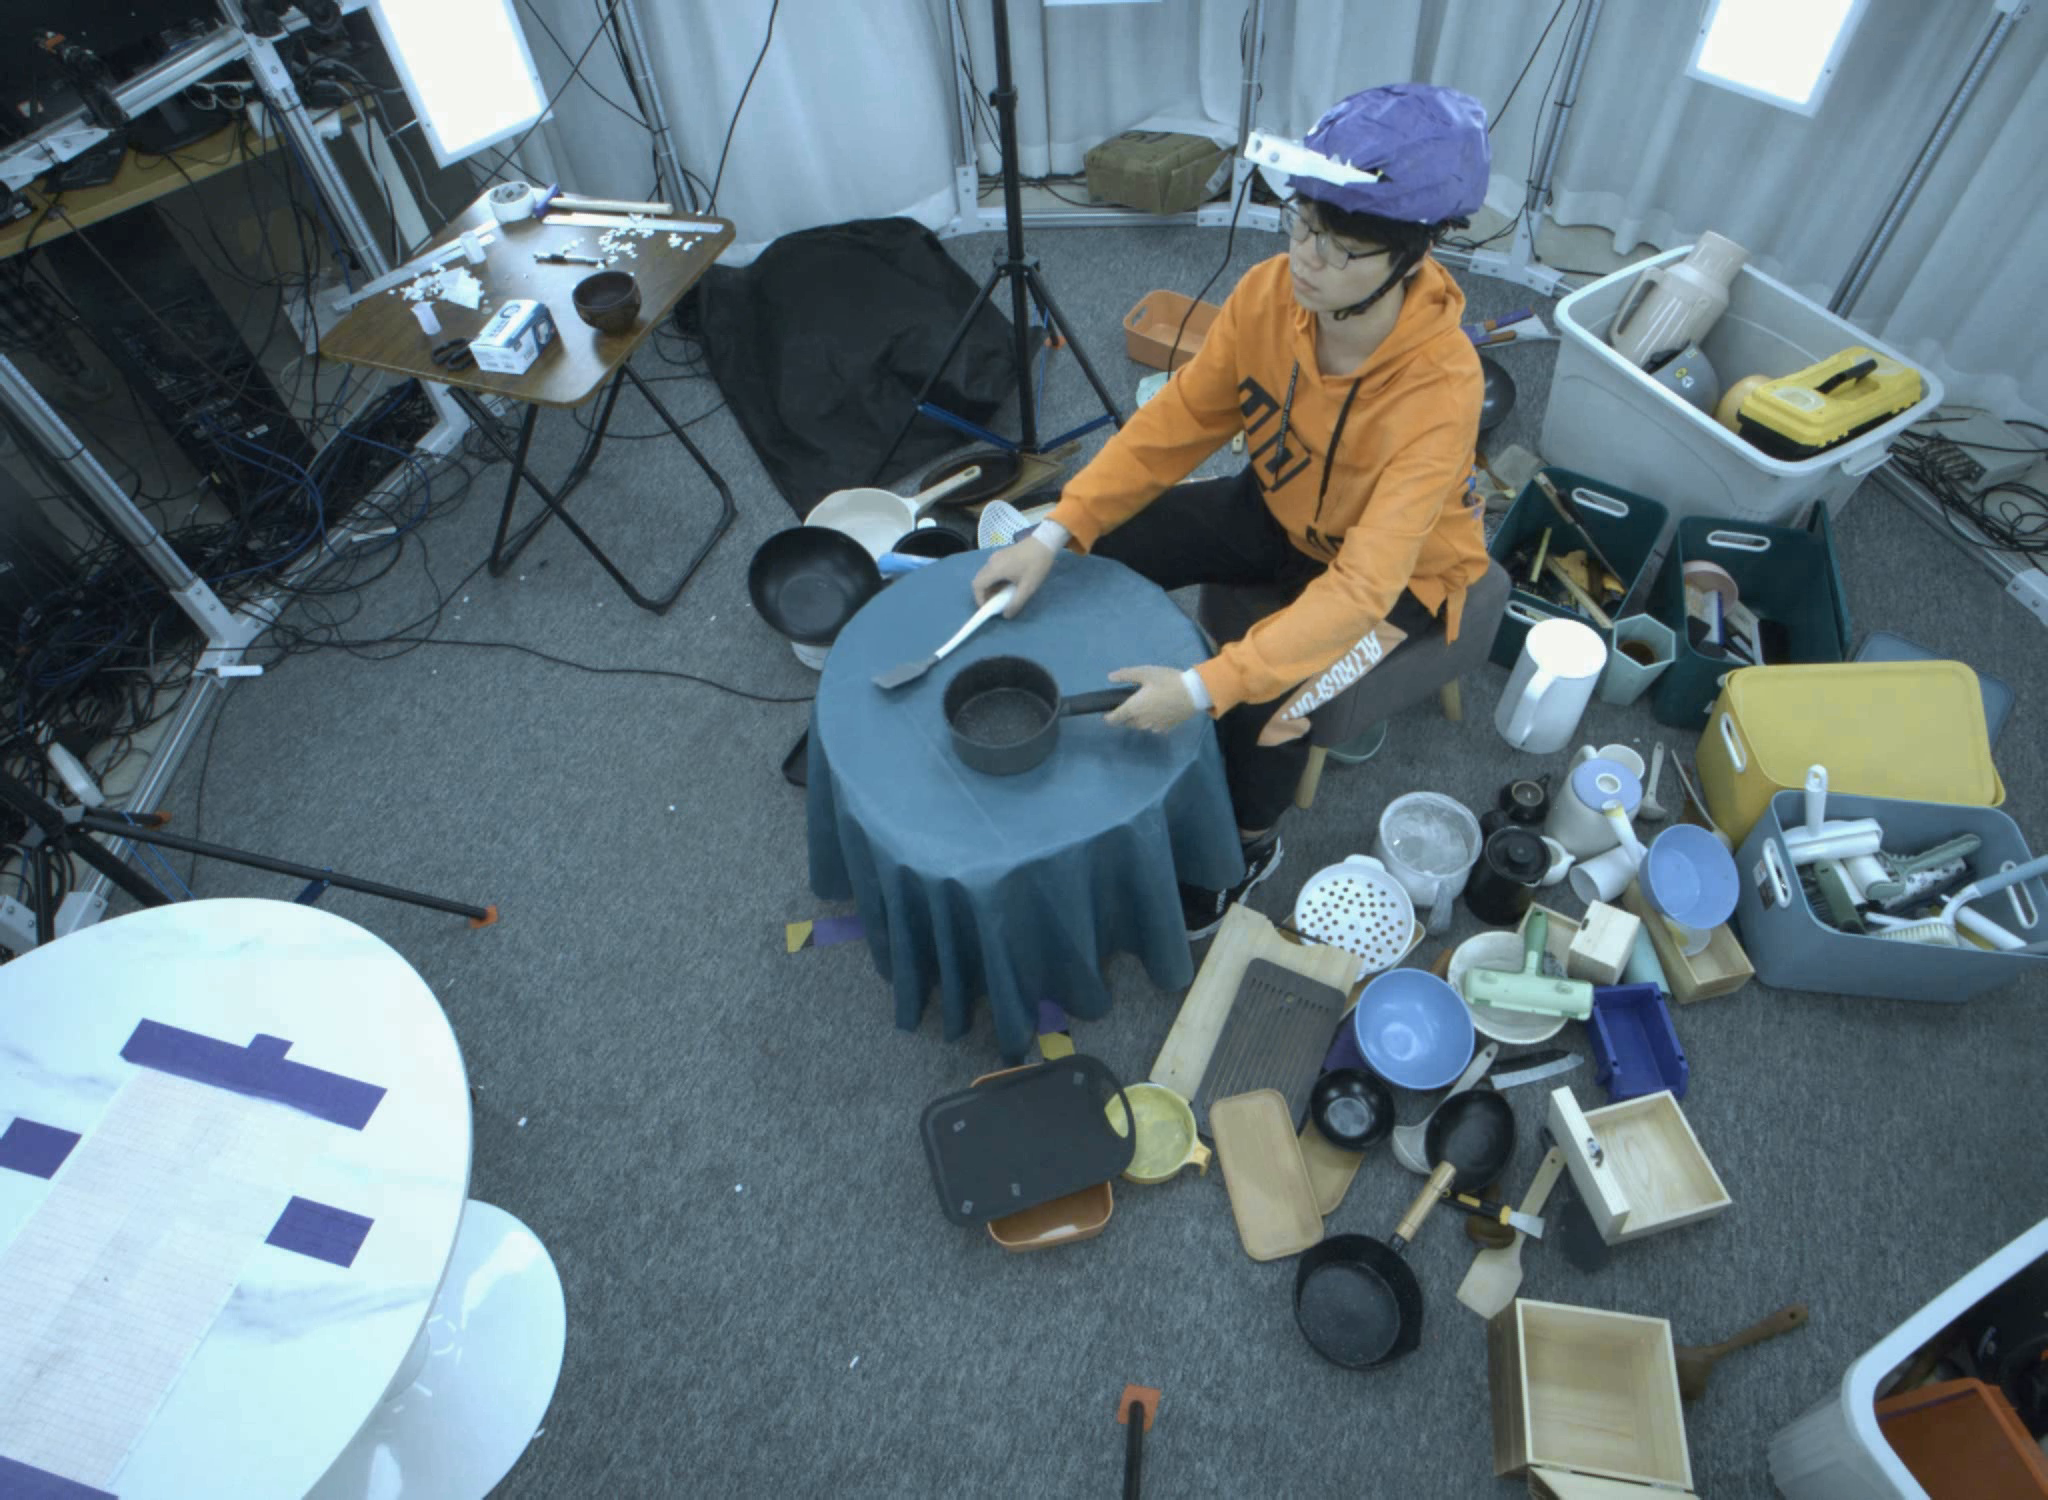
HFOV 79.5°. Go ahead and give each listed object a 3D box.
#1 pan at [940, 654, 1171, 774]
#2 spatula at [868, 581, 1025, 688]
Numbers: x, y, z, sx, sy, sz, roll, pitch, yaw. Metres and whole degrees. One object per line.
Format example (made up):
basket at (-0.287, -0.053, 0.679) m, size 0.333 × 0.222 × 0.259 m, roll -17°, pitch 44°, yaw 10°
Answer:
pan at (0.047, -0.054, 1.771) m, size 0.328 × 0.087 × 0.170 m, roll -1°, pitch 56°, yaw 4°
spatula at (-0.115, -0.173, 1.894) m, size 0.289 × 0.033 × 0.057 m, roll -38°, pitch 43°, yaw -21°
